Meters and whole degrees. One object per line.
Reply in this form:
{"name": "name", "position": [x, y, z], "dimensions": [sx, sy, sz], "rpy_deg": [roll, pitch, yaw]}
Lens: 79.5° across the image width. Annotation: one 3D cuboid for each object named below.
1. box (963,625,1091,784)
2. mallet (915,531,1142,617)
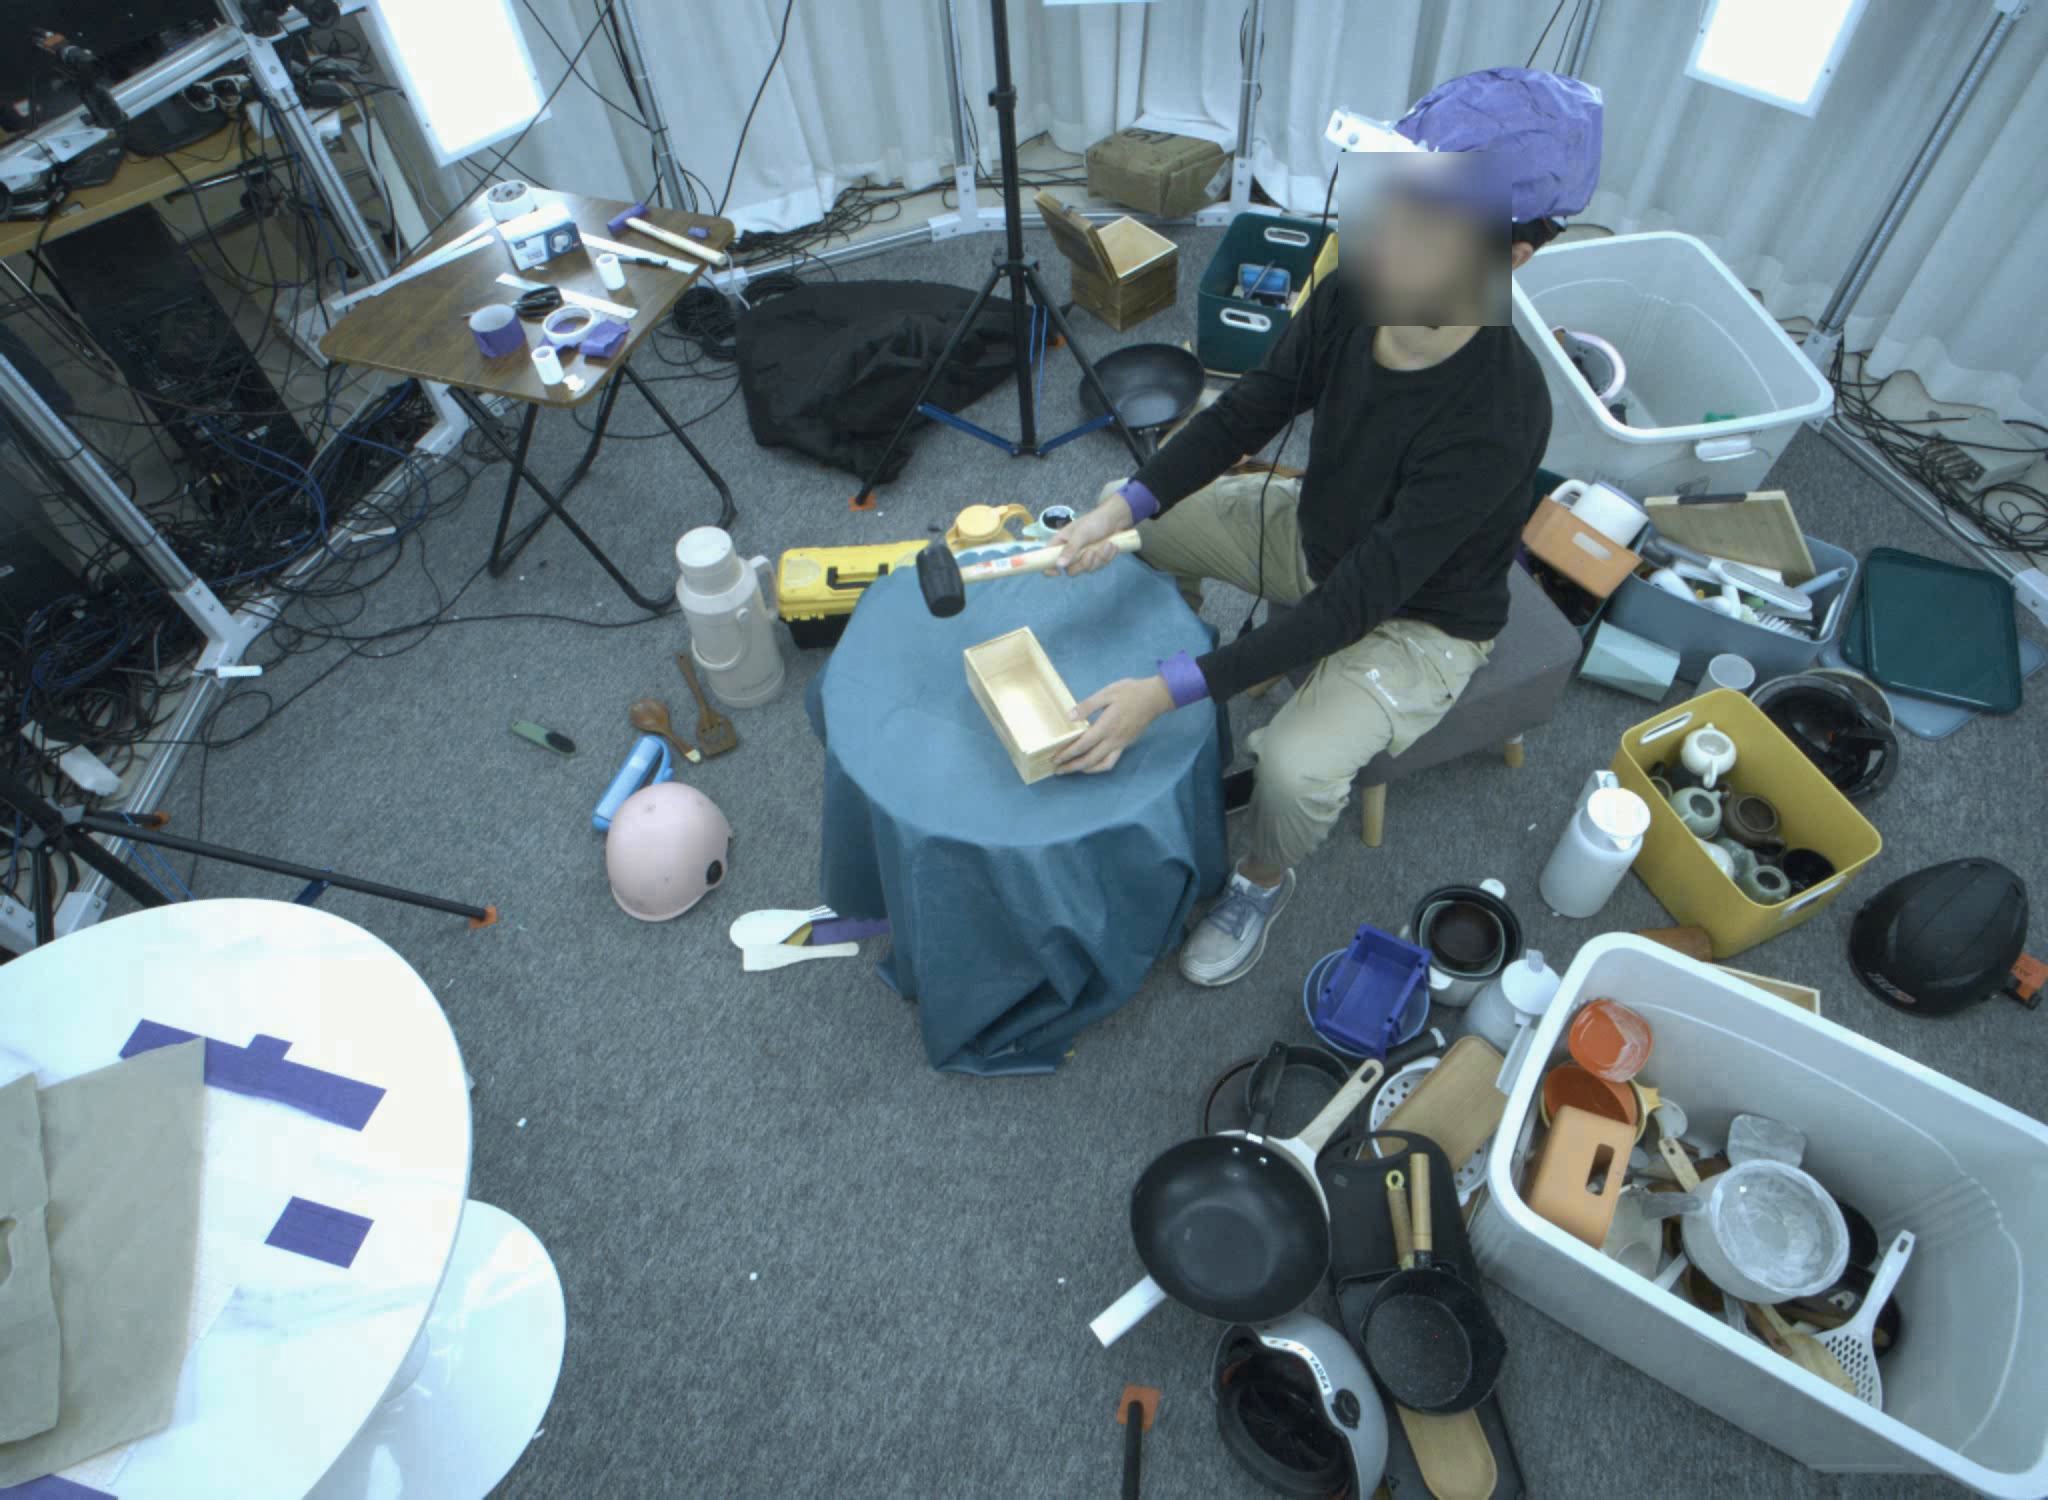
{"name": "box", "position": [0.003, -0.068, 1.782], "dimensions": [0.108, 0.081, 0.207], "rpy_deg": [-22, 57, -13]}
{"name": "mallet", "position": [0.009, -0.284, 1.816], "dimensions": [0.340, 0.064, 0.100], "rpy_deg": [-13, 68, -7]}
